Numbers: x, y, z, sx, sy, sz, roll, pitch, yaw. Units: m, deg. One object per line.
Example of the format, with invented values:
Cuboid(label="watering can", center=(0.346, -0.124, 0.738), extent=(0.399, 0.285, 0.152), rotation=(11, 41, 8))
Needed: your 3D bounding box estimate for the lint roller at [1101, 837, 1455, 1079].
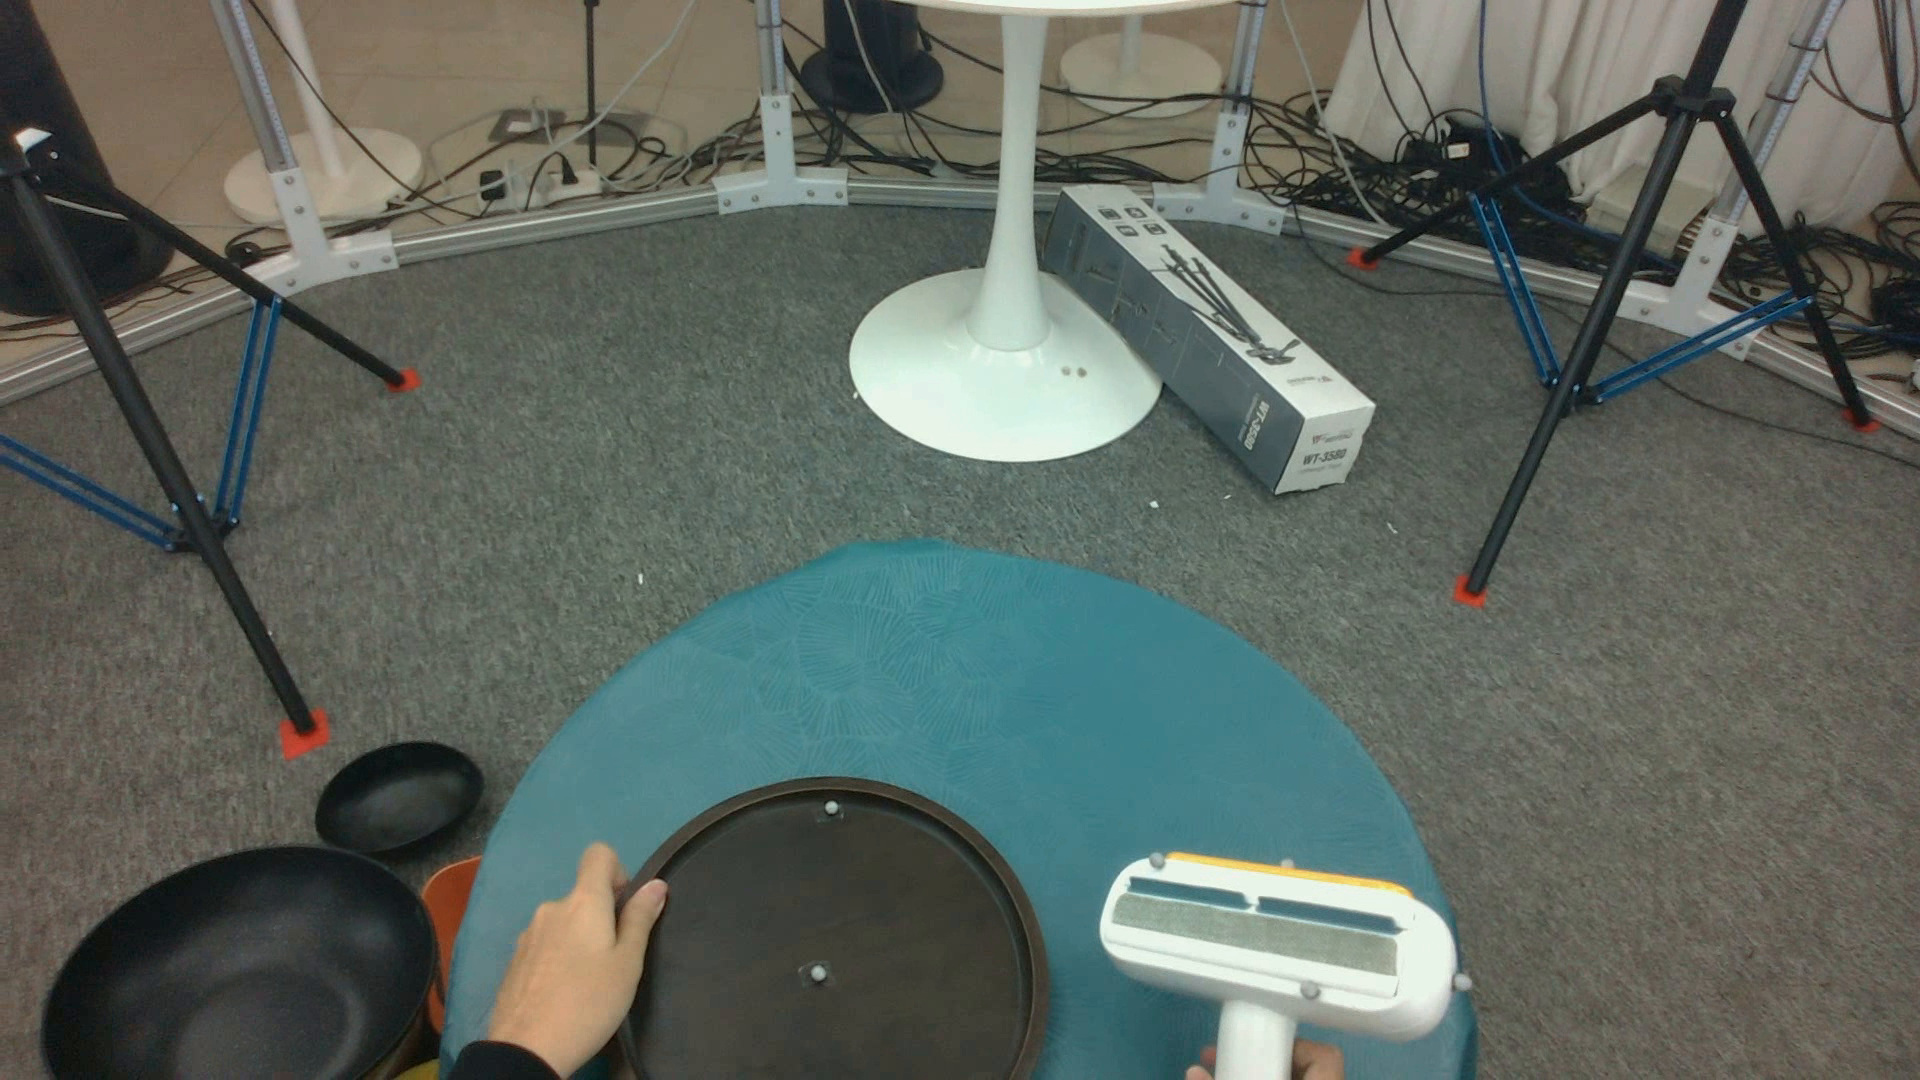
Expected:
Cuboid(label="lint roller", center=(0.143, 0.256, 0.695), extent=(0.192, 0.074, 0.193), rotation=(3, 65, 41))

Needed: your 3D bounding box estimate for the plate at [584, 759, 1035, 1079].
Cuboid(label="plate", center=(-0.083, 0.241, 0.781), extent=(0.255, 0.029, 0.256), rotation=(5, 48, -5))
